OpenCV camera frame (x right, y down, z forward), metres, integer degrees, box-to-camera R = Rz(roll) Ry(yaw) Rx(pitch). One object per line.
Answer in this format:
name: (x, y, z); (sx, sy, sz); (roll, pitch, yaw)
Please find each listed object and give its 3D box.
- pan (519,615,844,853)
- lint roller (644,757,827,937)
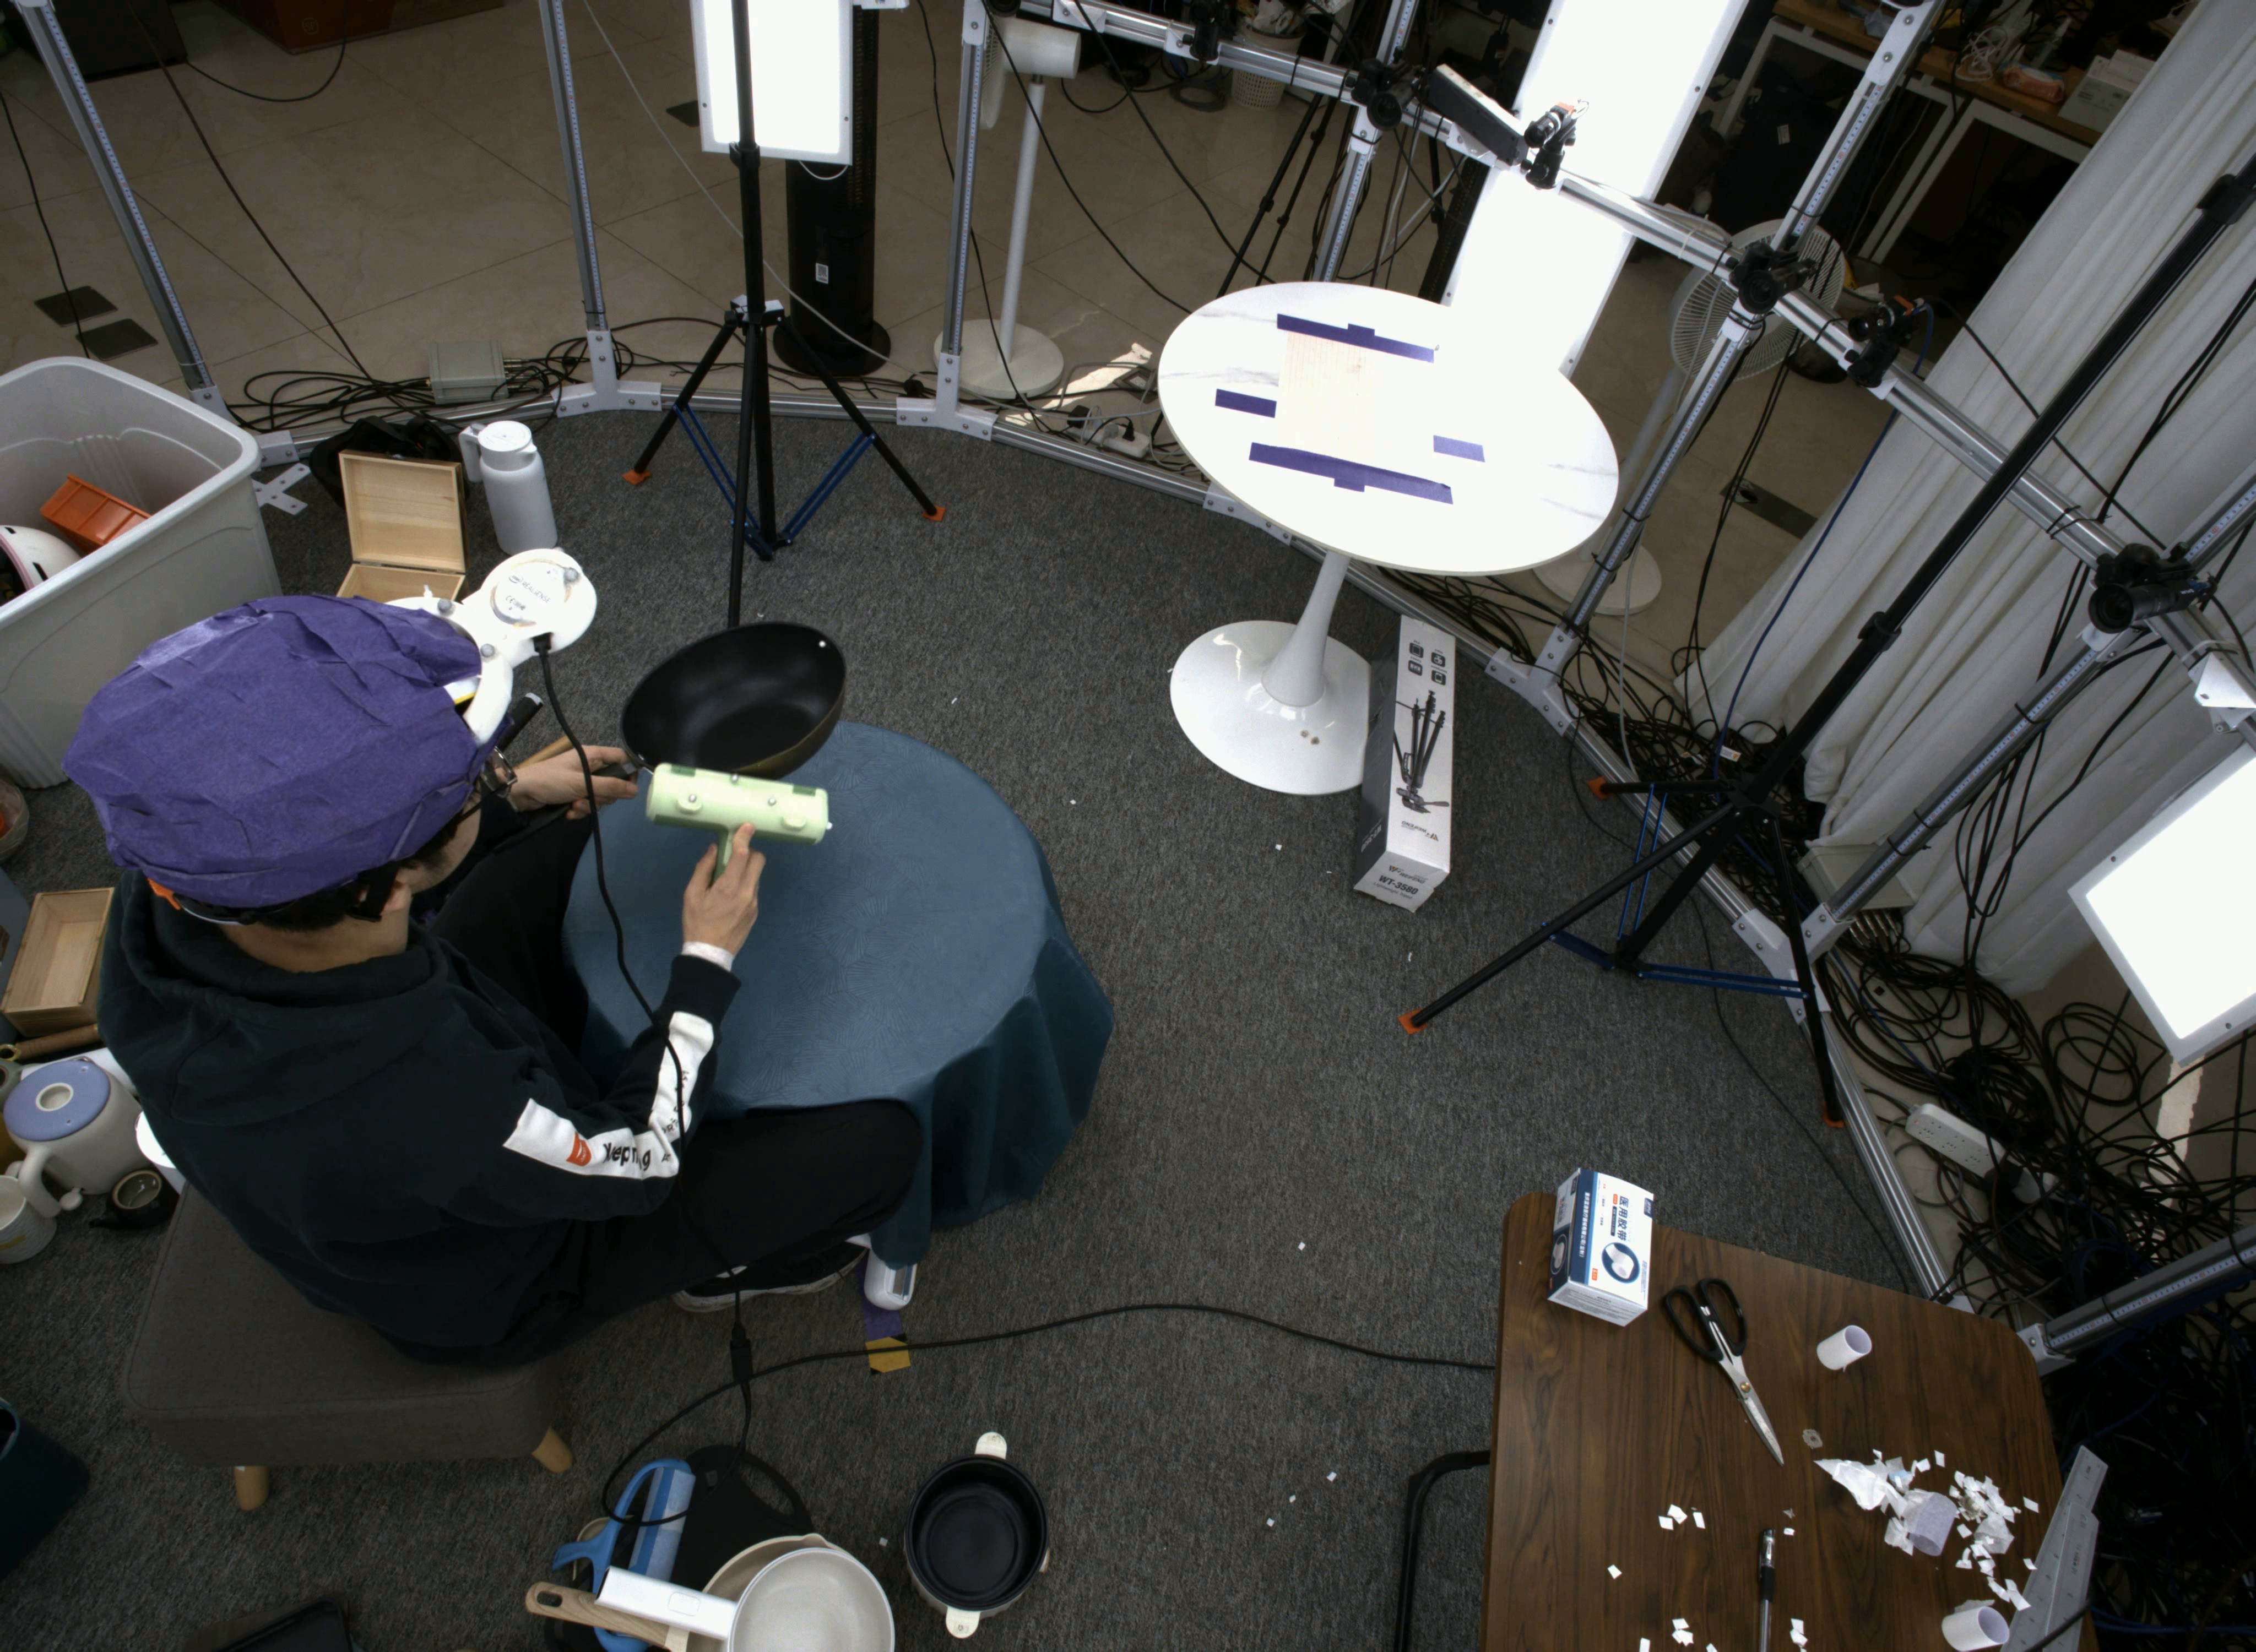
pan: (-0.532, -0.084, 1.523); (0.463, 0.090, 0.277); (-38, 52, -23)
lint roller: (-0.443, 0.029, 1.439); (0.202, 0.080, 0.184); (10, 84, -28)
